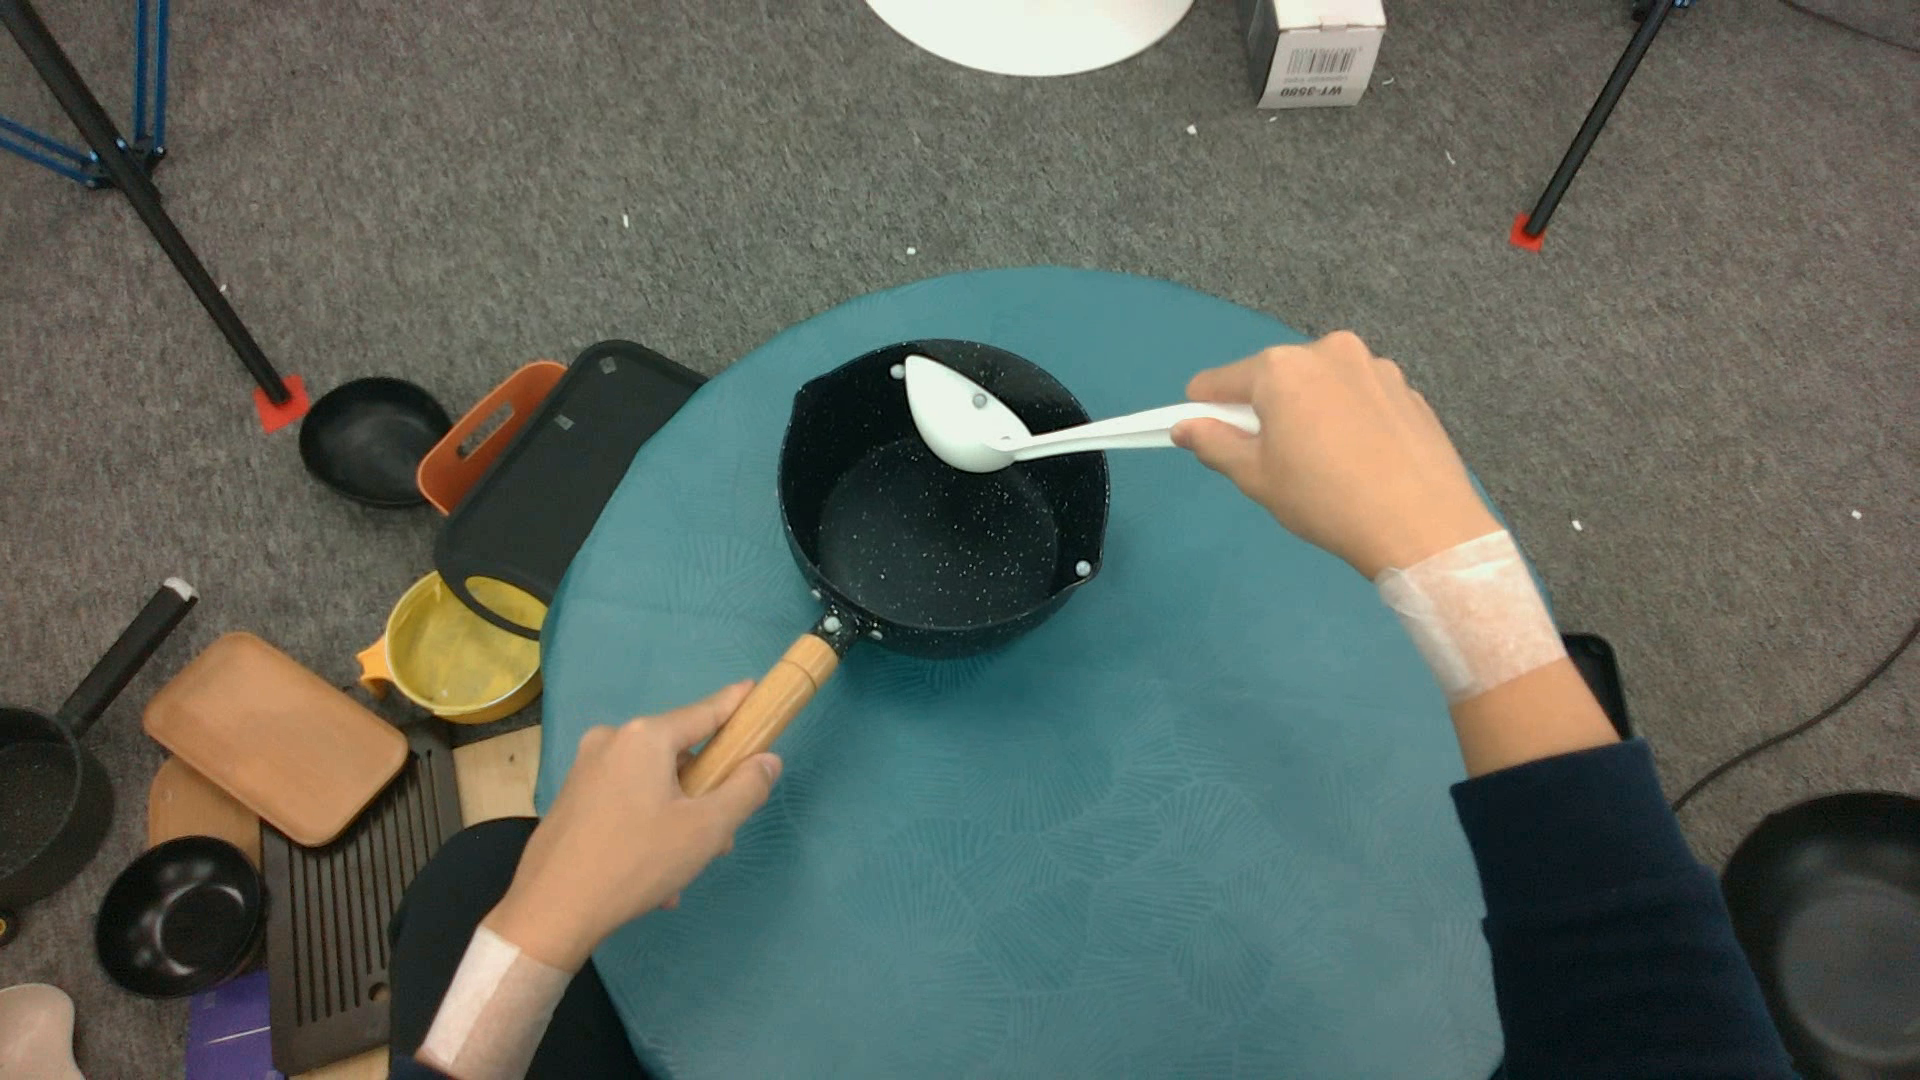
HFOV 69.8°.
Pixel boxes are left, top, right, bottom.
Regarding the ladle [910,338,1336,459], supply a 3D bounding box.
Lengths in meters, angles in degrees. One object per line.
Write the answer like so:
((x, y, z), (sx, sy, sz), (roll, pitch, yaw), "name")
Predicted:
((0.070, -0.079, 0.700), (0.090, 0.292, 0.070), (34, 70, -31), "ladle")

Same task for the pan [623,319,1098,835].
((-0.059, 0.028, 0.747), (0.207, 0.108, 0.344), (30, 63, 9), "pan")
